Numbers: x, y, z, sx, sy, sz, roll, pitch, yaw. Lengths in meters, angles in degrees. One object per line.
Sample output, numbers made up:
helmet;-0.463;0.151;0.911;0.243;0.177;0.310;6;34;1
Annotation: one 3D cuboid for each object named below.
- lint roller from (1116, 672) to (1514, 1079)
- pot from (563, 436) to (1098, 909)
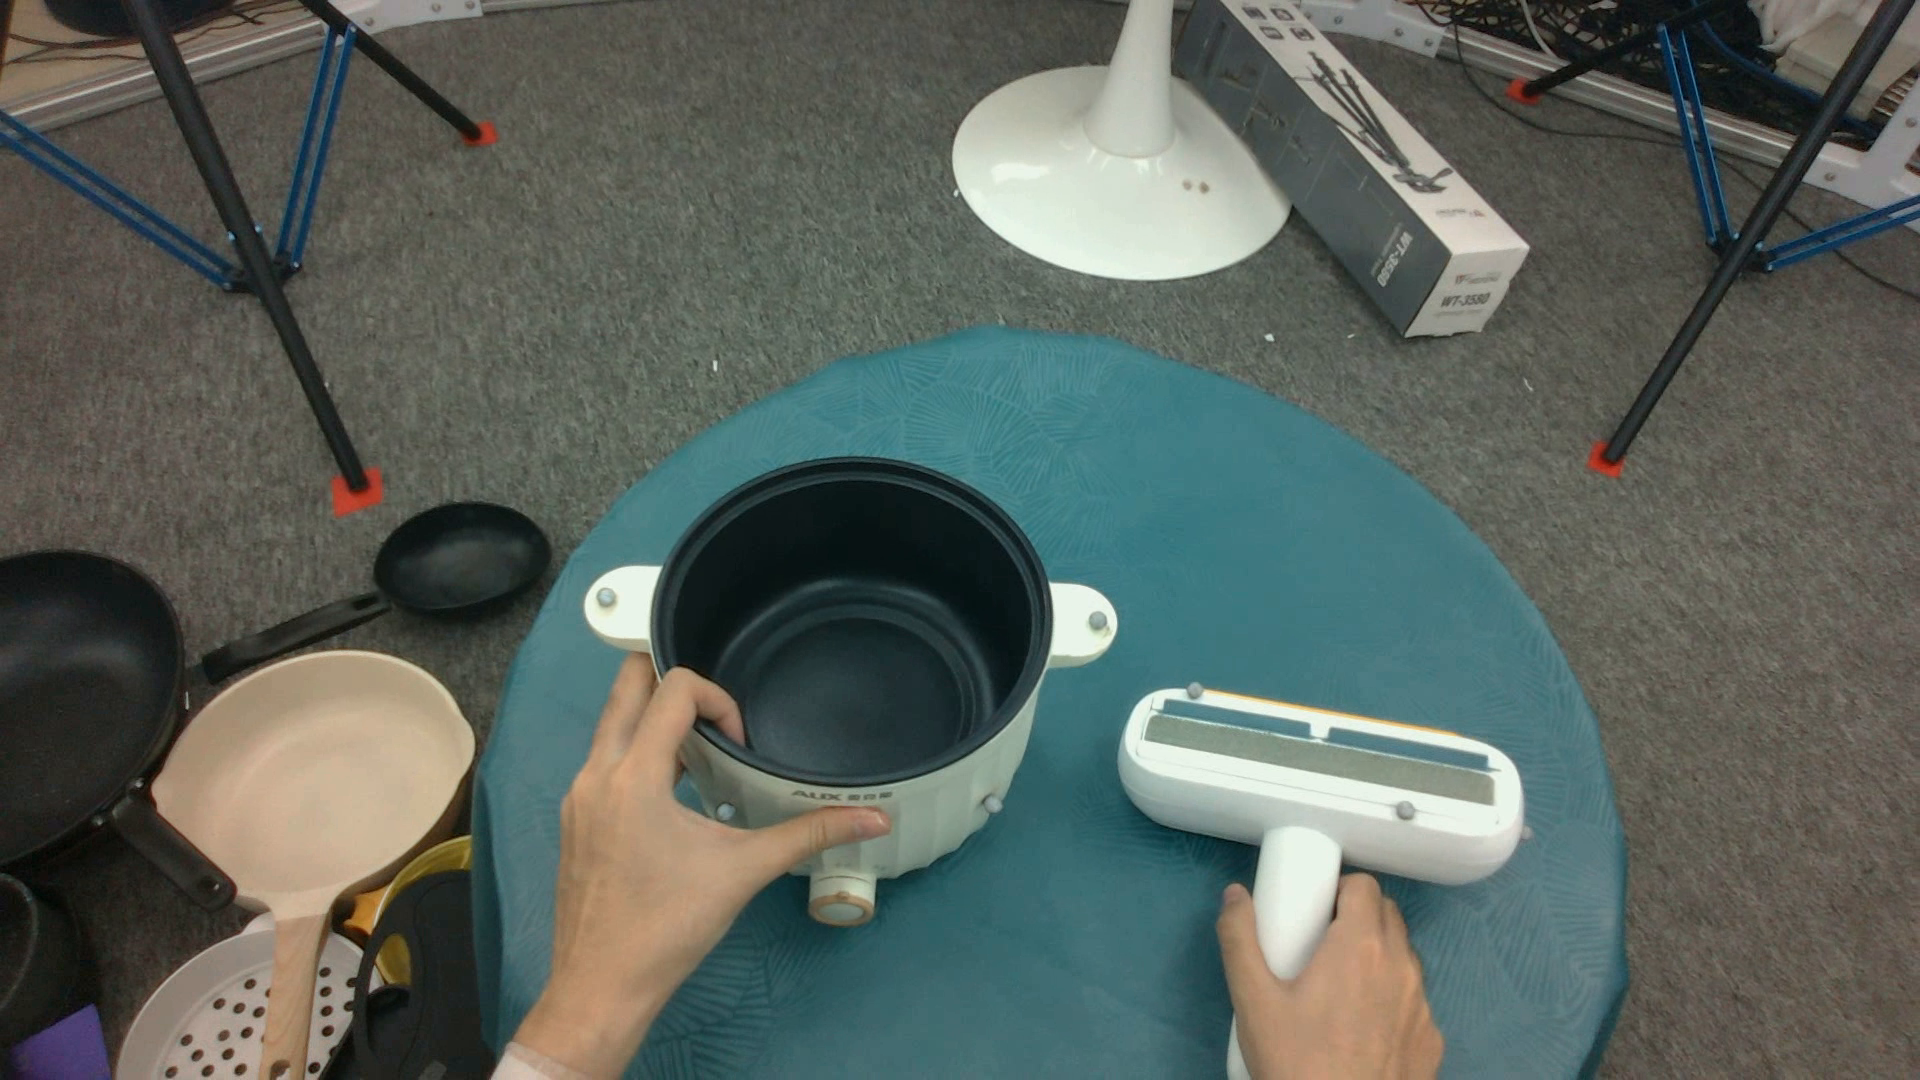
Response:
lint roller;0.153;0.162;0.658;0.193;0.074;0.193;15;52;15
pot;-0.059;0.065;0.666;0.240;0.142;0.191;1;49;-2
